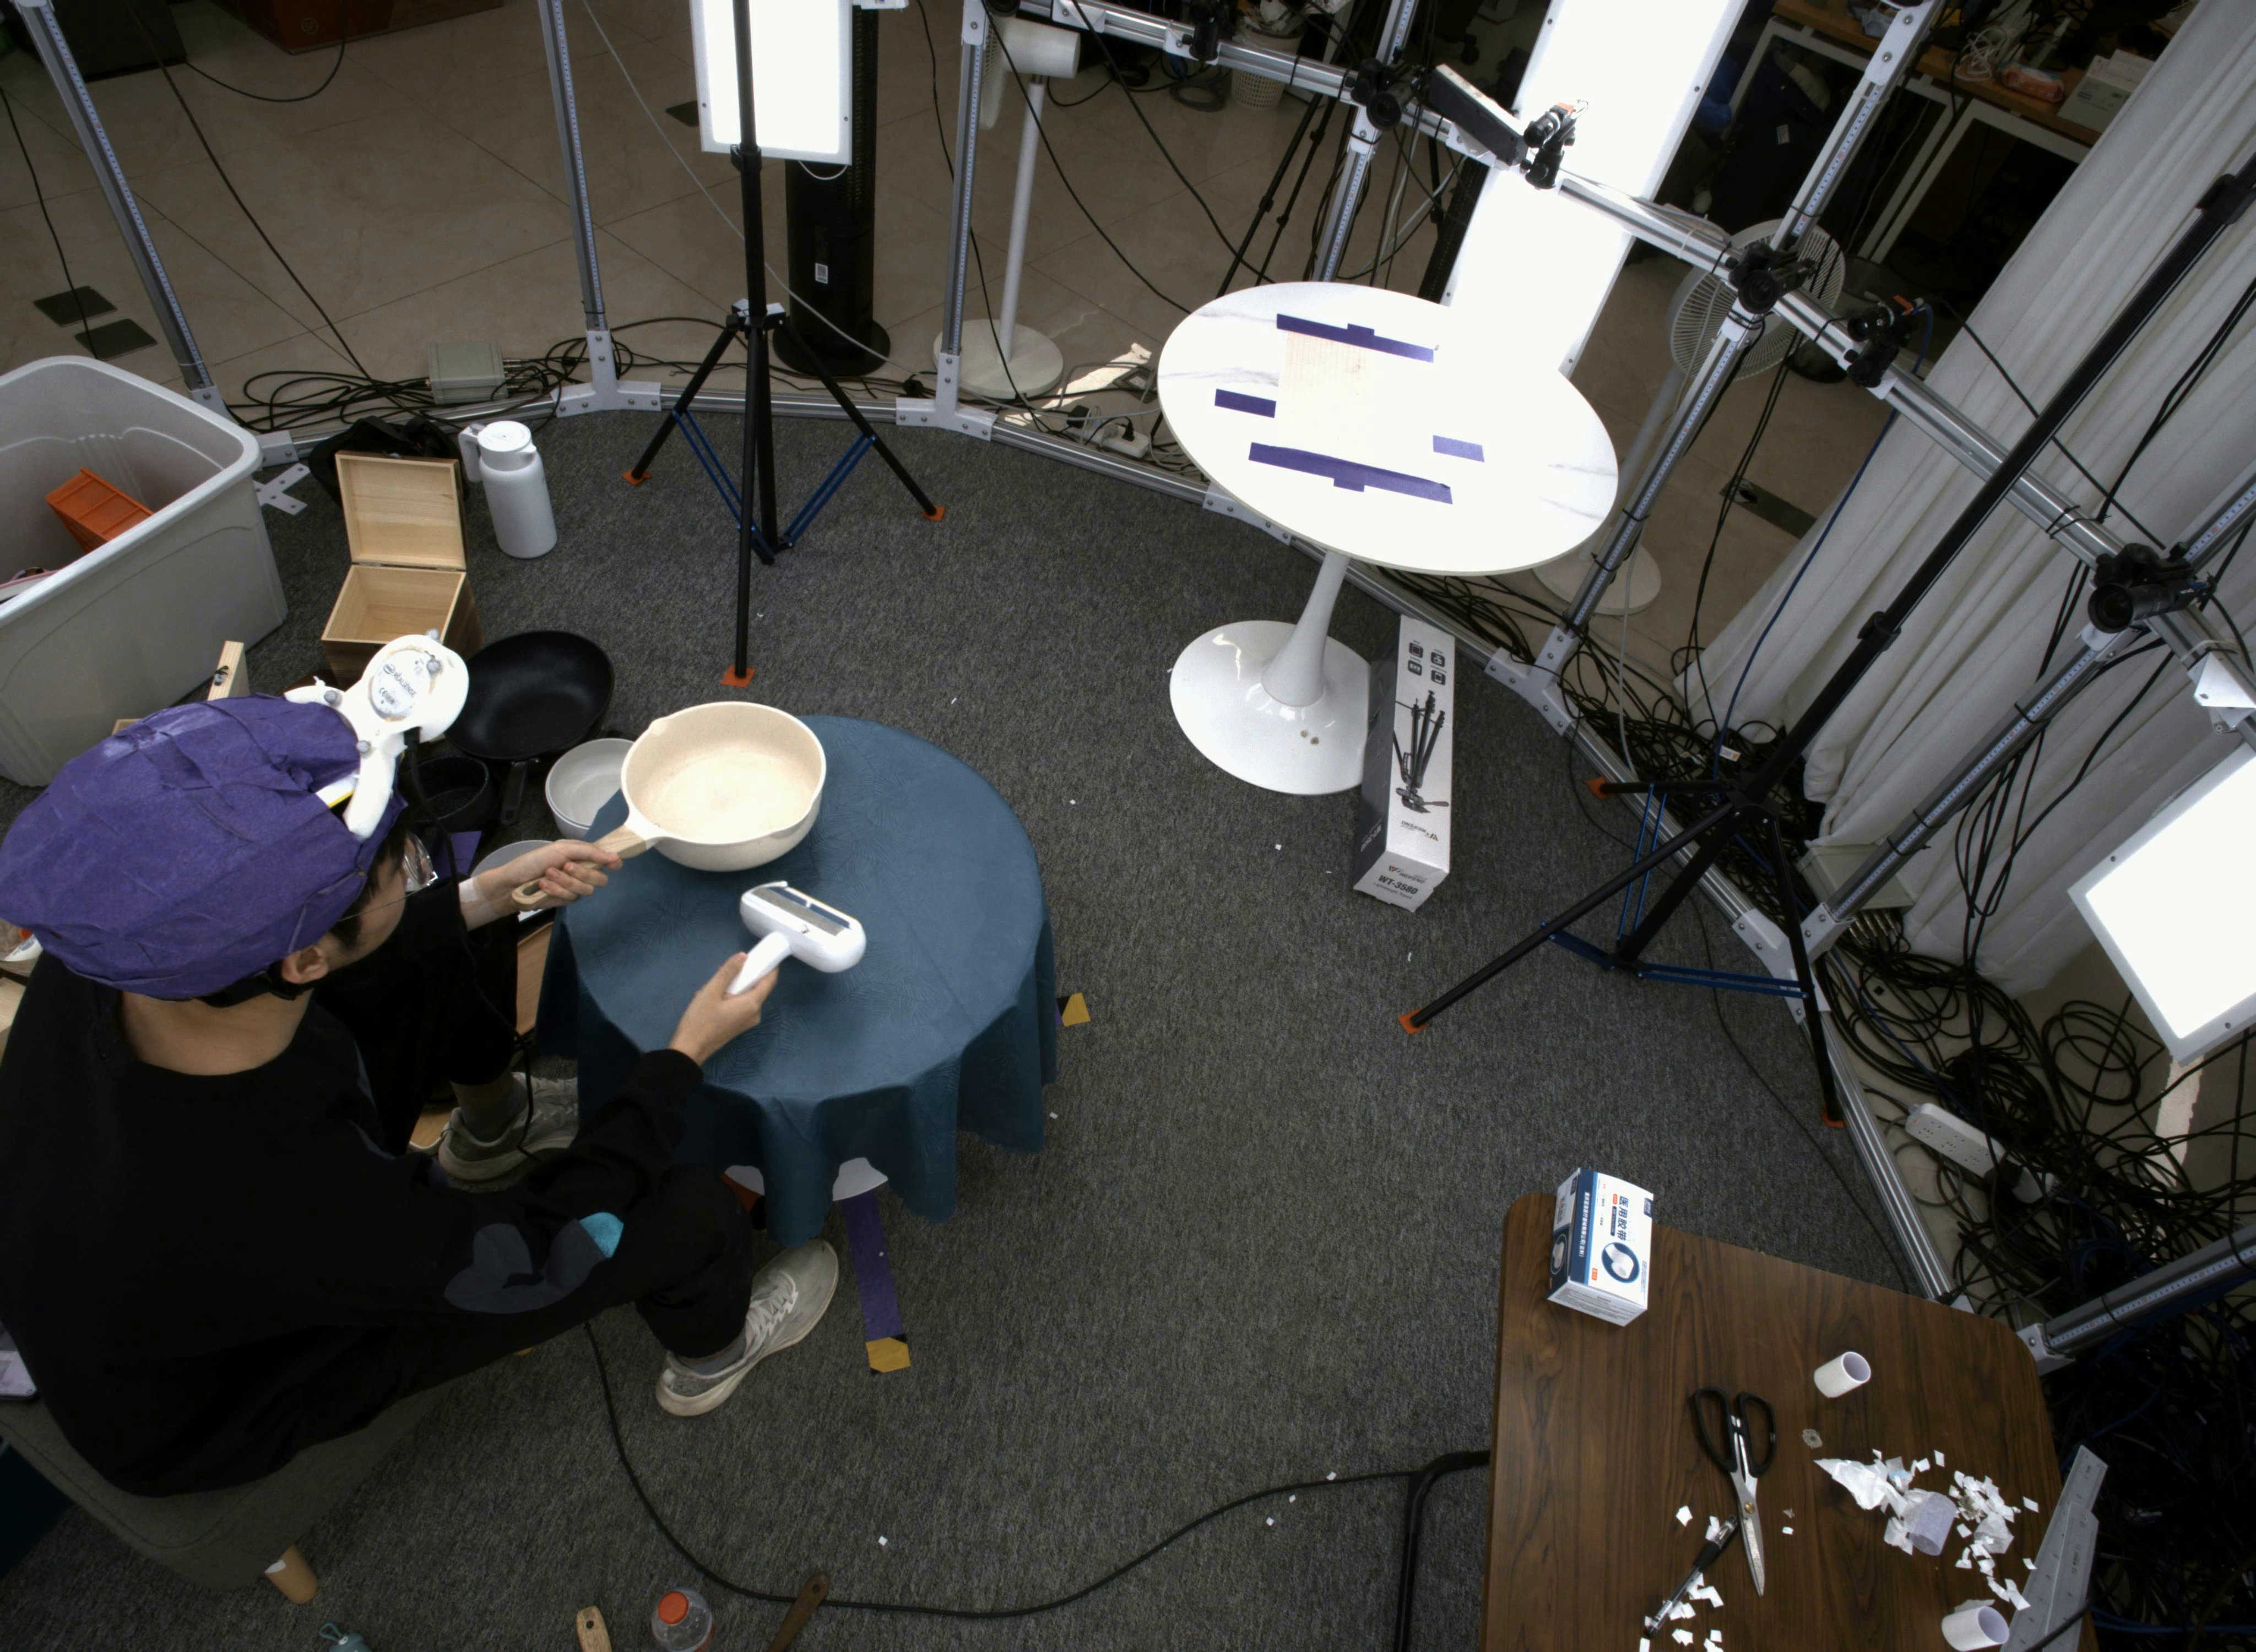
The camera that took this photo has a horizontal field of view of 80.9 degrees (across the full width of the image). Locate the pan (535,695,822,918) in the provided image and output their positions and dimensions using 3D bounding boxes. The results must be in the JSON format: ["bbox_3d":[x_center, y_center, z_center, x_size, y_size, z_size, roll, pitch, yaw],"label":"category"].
[{"bbox_3d":[-0.568,-0.004,1.592,0.257,0.104,0.434,33,51,15],"label":"pan"}]

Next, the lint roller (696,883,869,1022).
[{"bbox_3d":[-0.425,0.151,1.517,0.186,0.077,0.193,27,46,34],"label":"lint roller"}]
